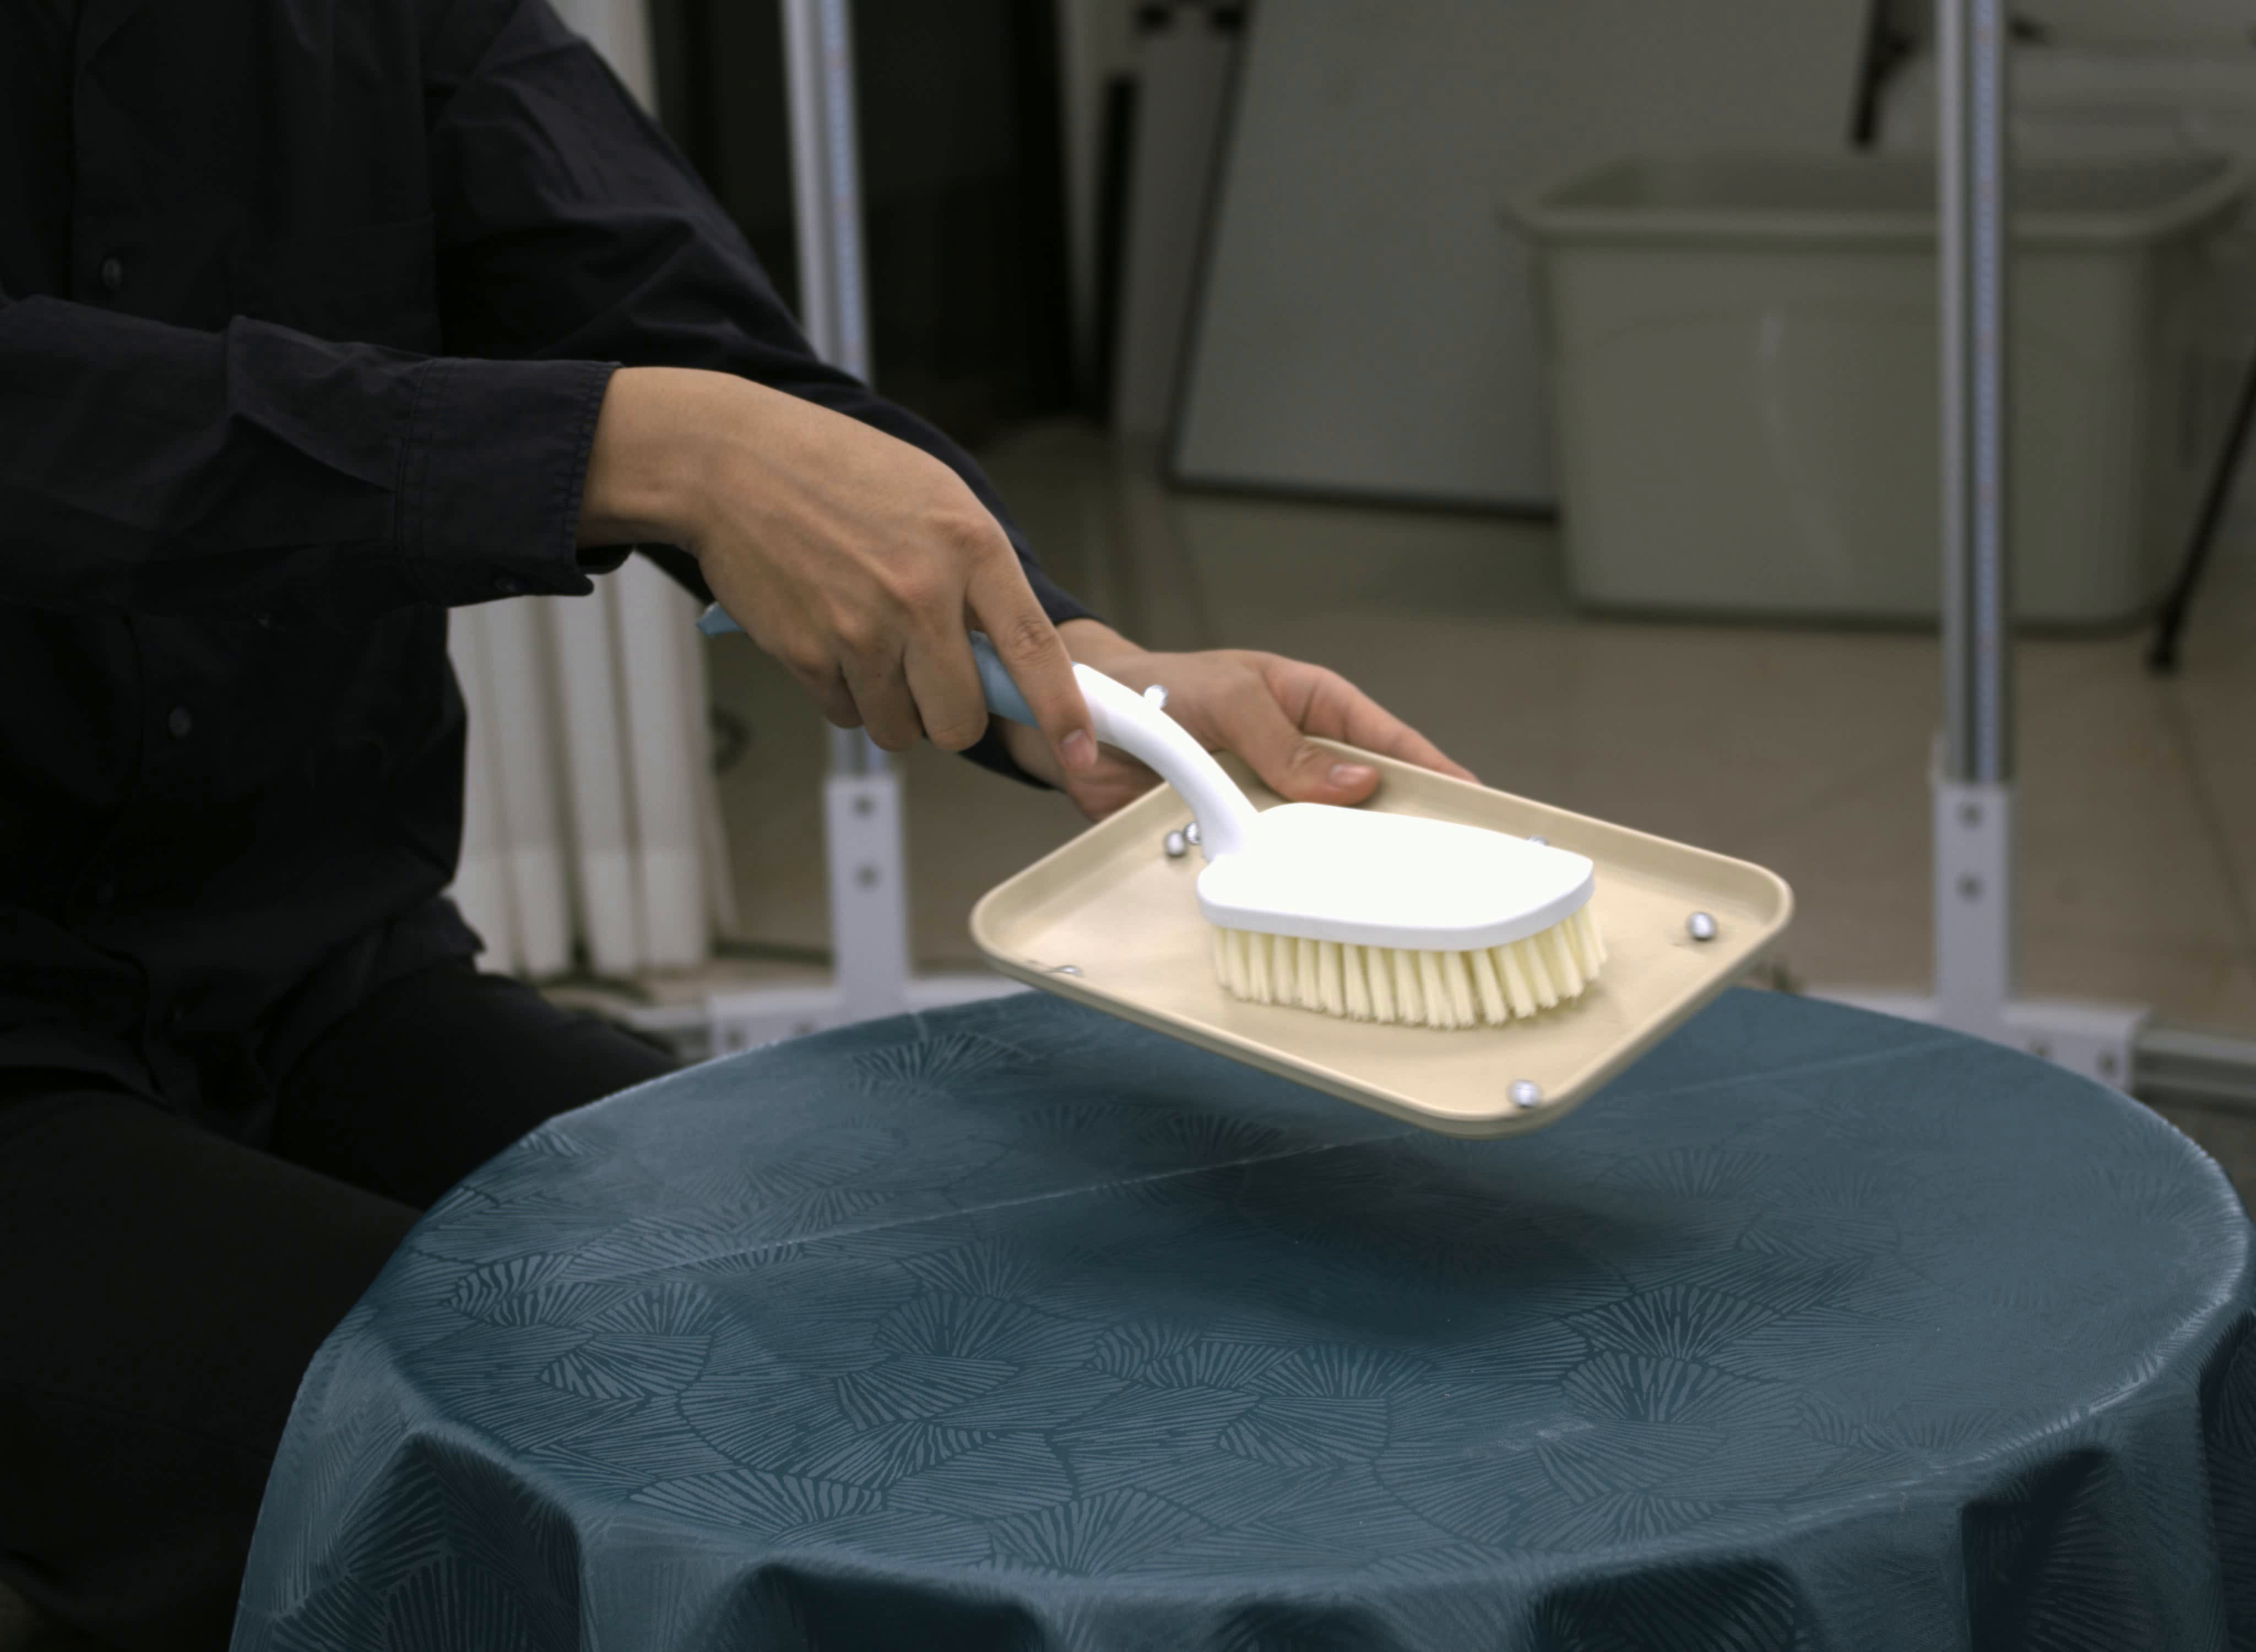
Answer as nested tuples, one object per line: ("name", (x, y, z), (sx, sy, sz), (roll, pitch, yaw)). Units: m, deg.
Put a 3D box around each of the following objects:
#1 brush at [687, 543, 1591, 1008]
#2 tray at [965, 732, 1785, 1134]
("brush", (0.000, -0.007, 1.738), (0.326, 0.085, 0.082), (19, 0, 22))
("tray", (0.078, 0.033, 1.719), (0.242, 0.017, 0.168), (18, 37, 41))
